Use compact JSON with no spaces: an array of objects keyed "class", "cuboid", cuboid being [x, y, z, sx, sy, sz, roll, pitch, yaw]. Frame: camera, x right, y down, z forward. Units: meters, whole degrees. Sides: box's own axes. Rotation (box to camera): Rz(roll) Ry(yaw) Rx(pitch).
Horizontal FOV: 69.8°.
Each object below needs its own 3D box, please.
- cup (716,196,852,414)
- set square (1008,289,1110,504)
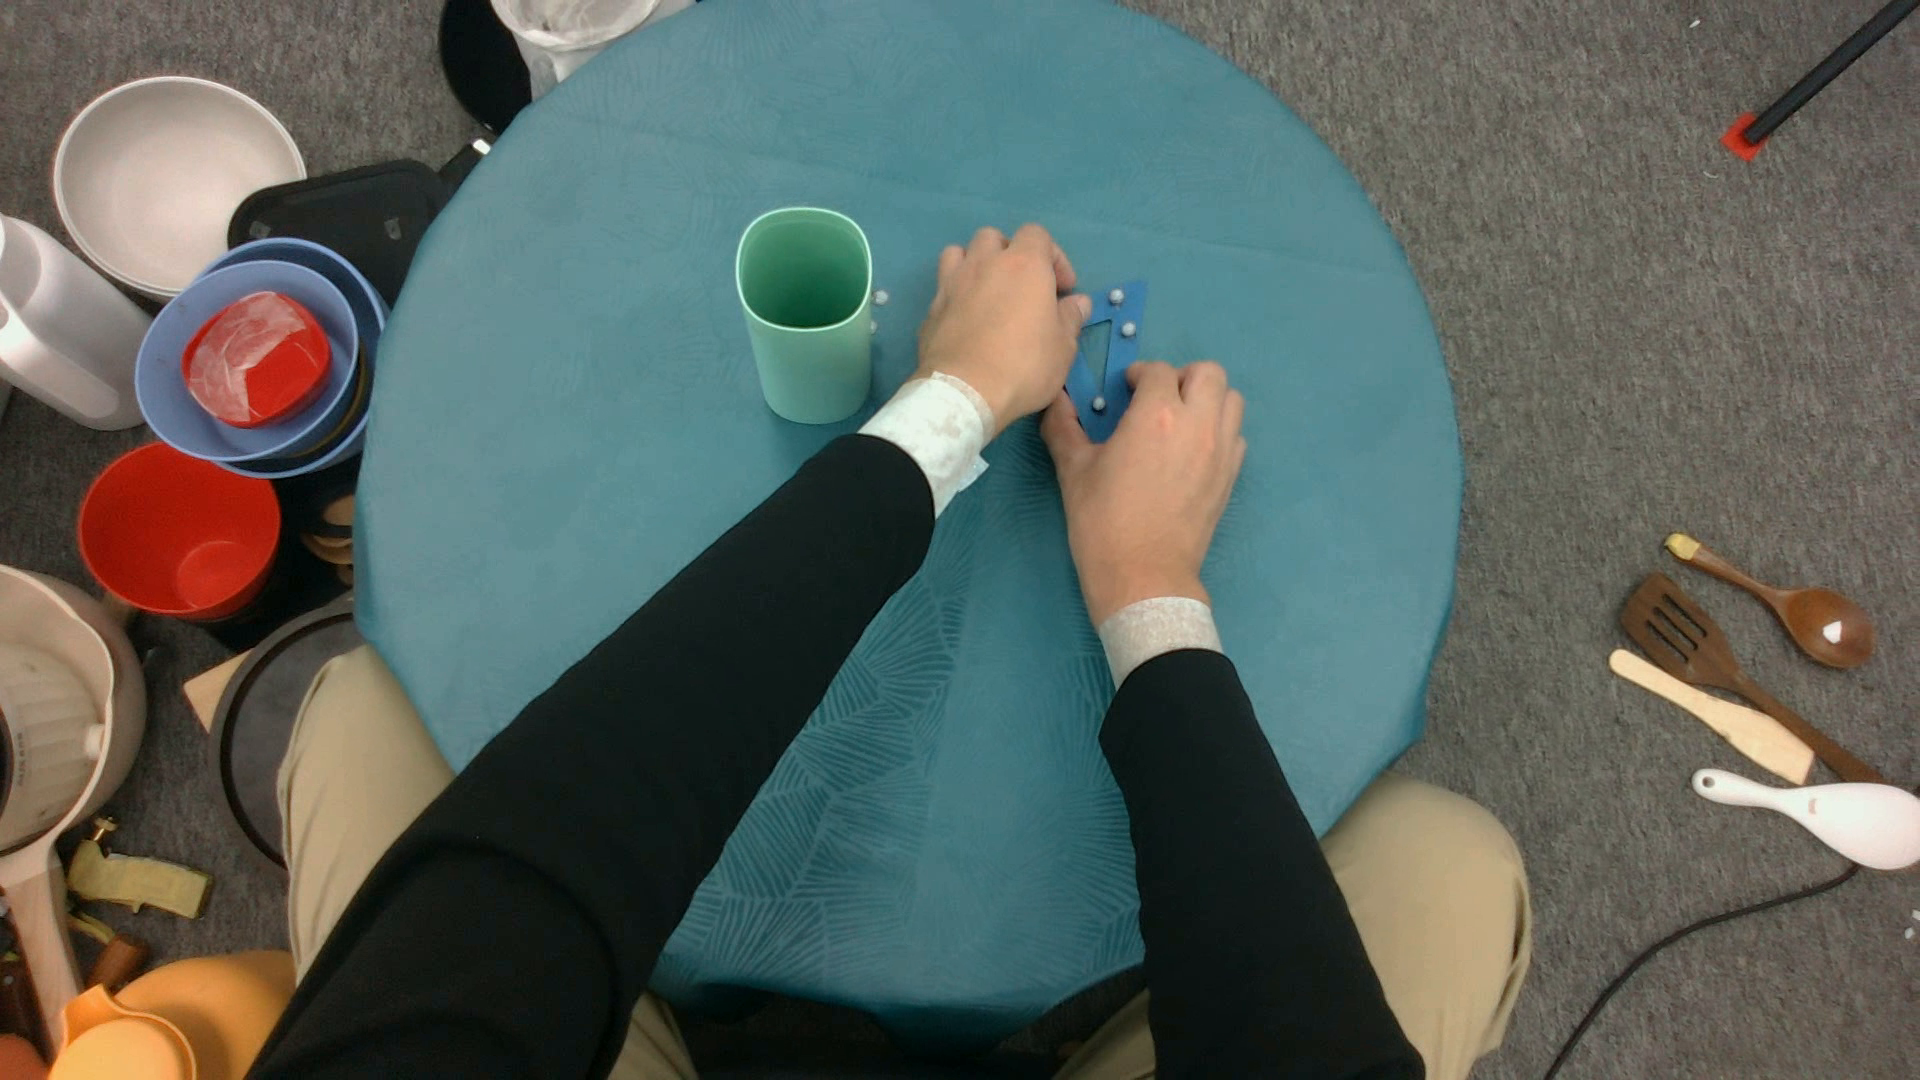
[{"class":"cup","cuboid":[-0.087,-0.113,0.700,0.067,0.132,0.067,1,75,-5]},{"class":"set square","cuboid":[0.050,-0.087,0.759,0.061,0.006,0.132,13,73,-14]}]
